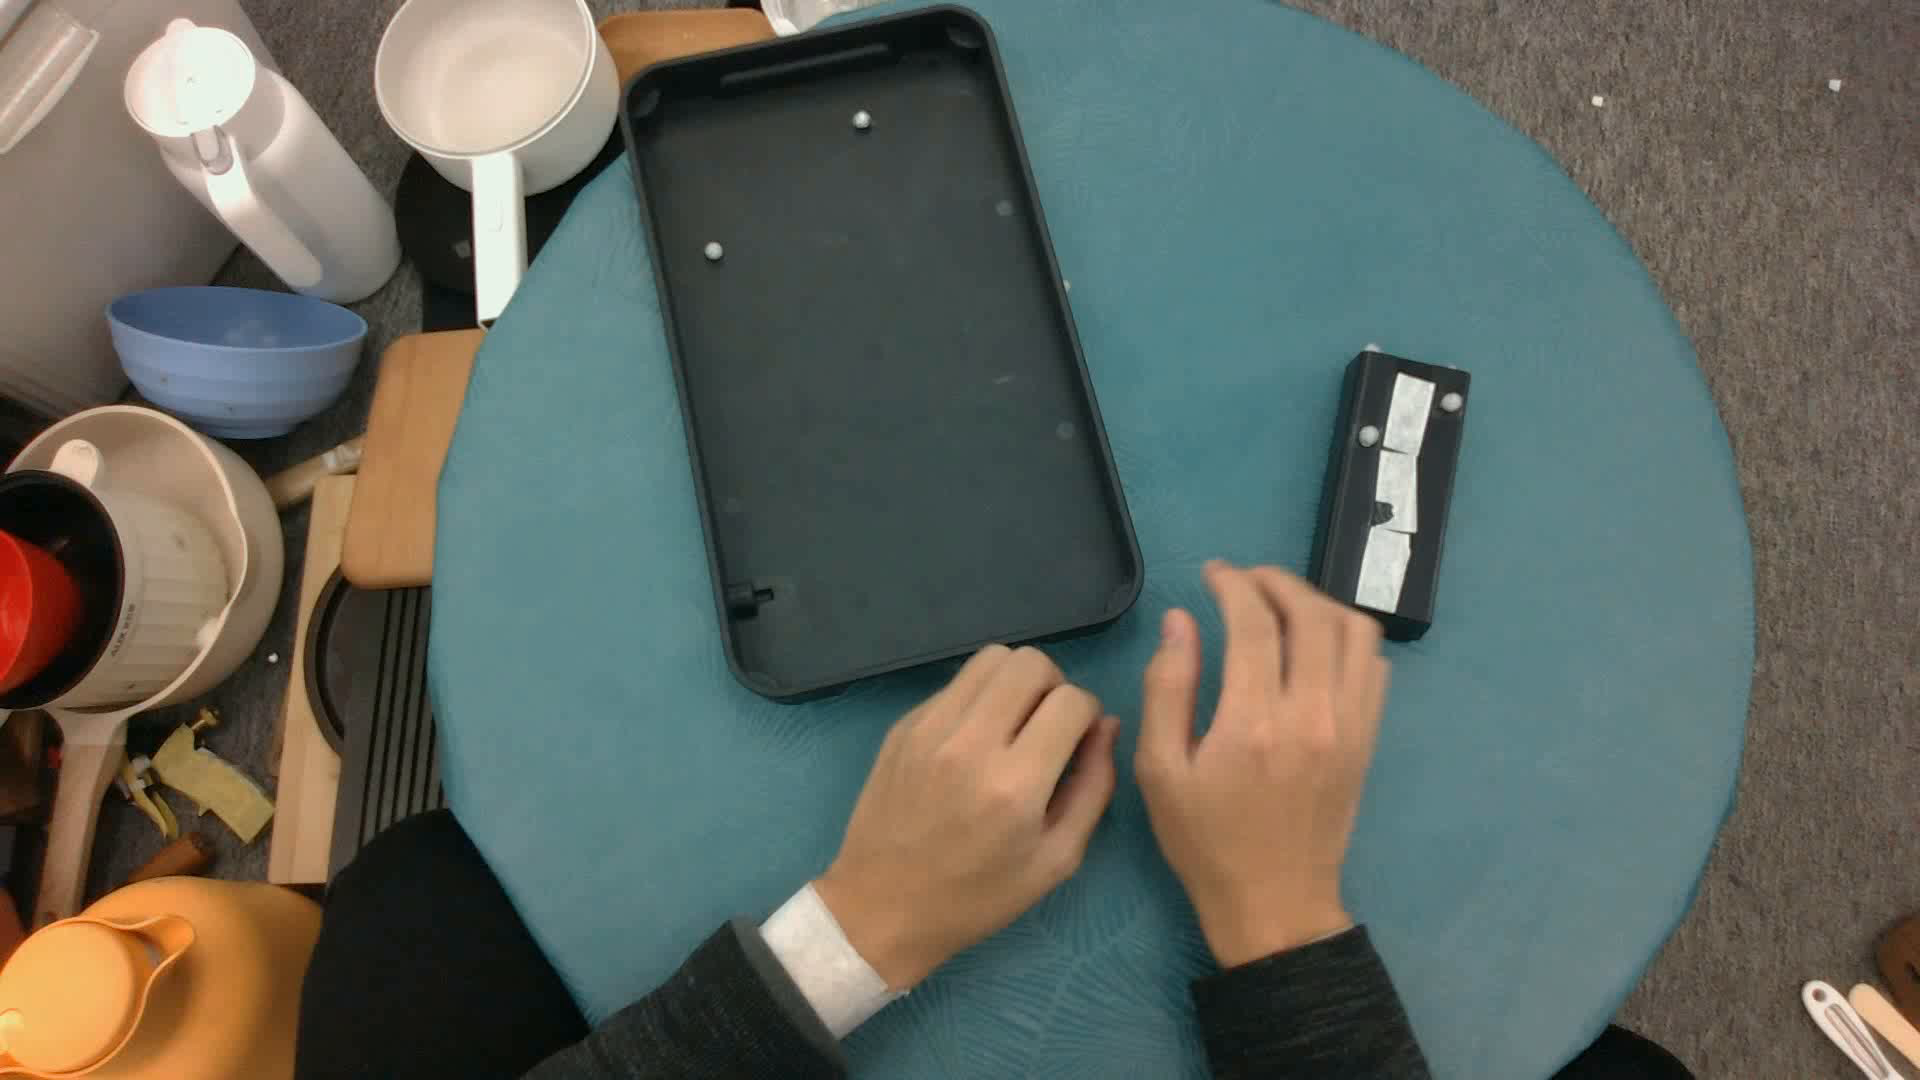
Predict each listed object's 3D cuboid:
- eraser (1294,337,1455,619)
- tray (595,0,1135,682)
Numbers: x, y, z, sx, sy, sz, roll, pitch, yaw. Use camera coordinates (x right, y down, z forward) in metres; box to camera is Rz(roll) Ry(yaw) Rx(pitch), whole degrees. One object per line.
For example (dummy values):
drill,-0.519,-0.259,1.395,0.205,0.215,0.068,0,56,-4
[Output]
eraser,0.187,-0.029,0.623,0.053,0.030,0.126,12,75,5
tray,-0.049,-0.104,0.639,0.184,0.037,0.318,-15,74,-5
